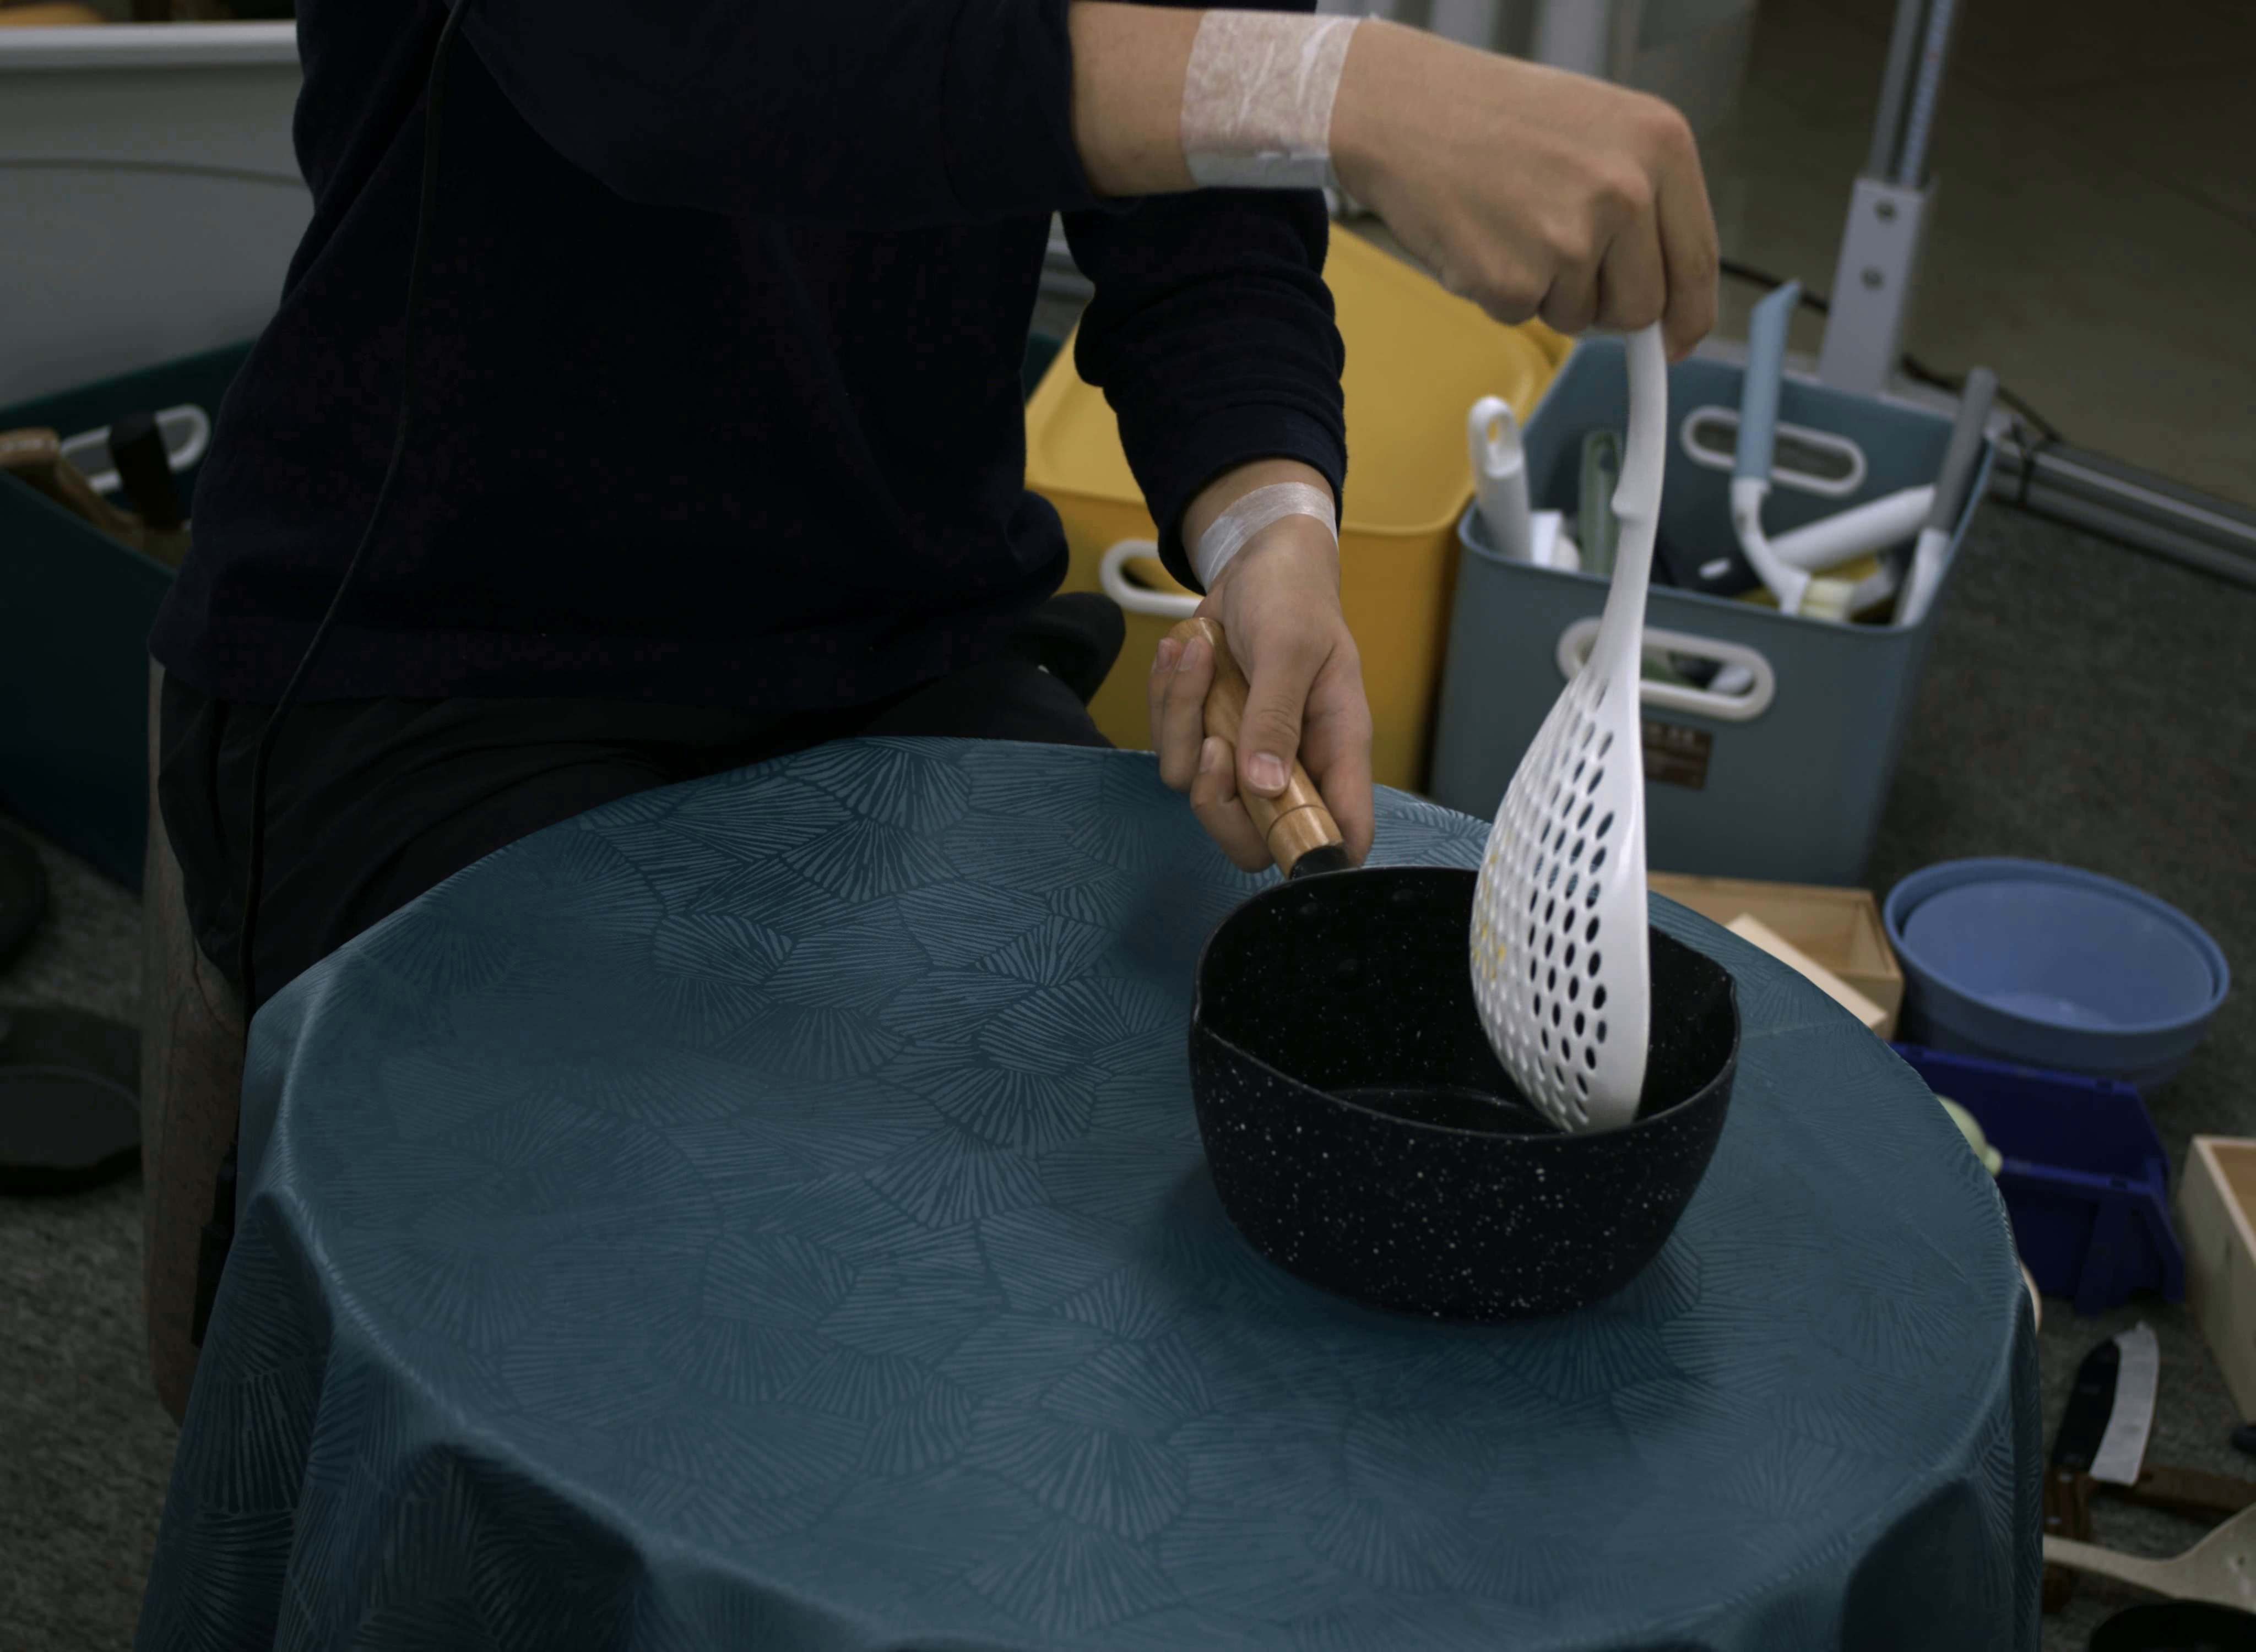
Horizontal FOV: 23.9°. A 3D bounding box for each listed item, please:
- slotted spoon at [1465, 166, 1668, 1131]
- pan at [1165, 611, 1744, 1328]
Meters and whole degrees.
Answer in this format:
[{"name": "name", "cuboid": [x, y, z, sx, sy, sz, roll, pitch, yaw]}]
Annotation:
[{"name": "slotted spoon", "cuboid": [0.151, -0.053, 1.741, 0.050, 0.347, 0.138, 2, 27, -15]}, {"name": "pan", "cuboid": [0.080, 0.047, 1.853, 0.206, 0.108, 0.346, -7, 31, -22]}]
